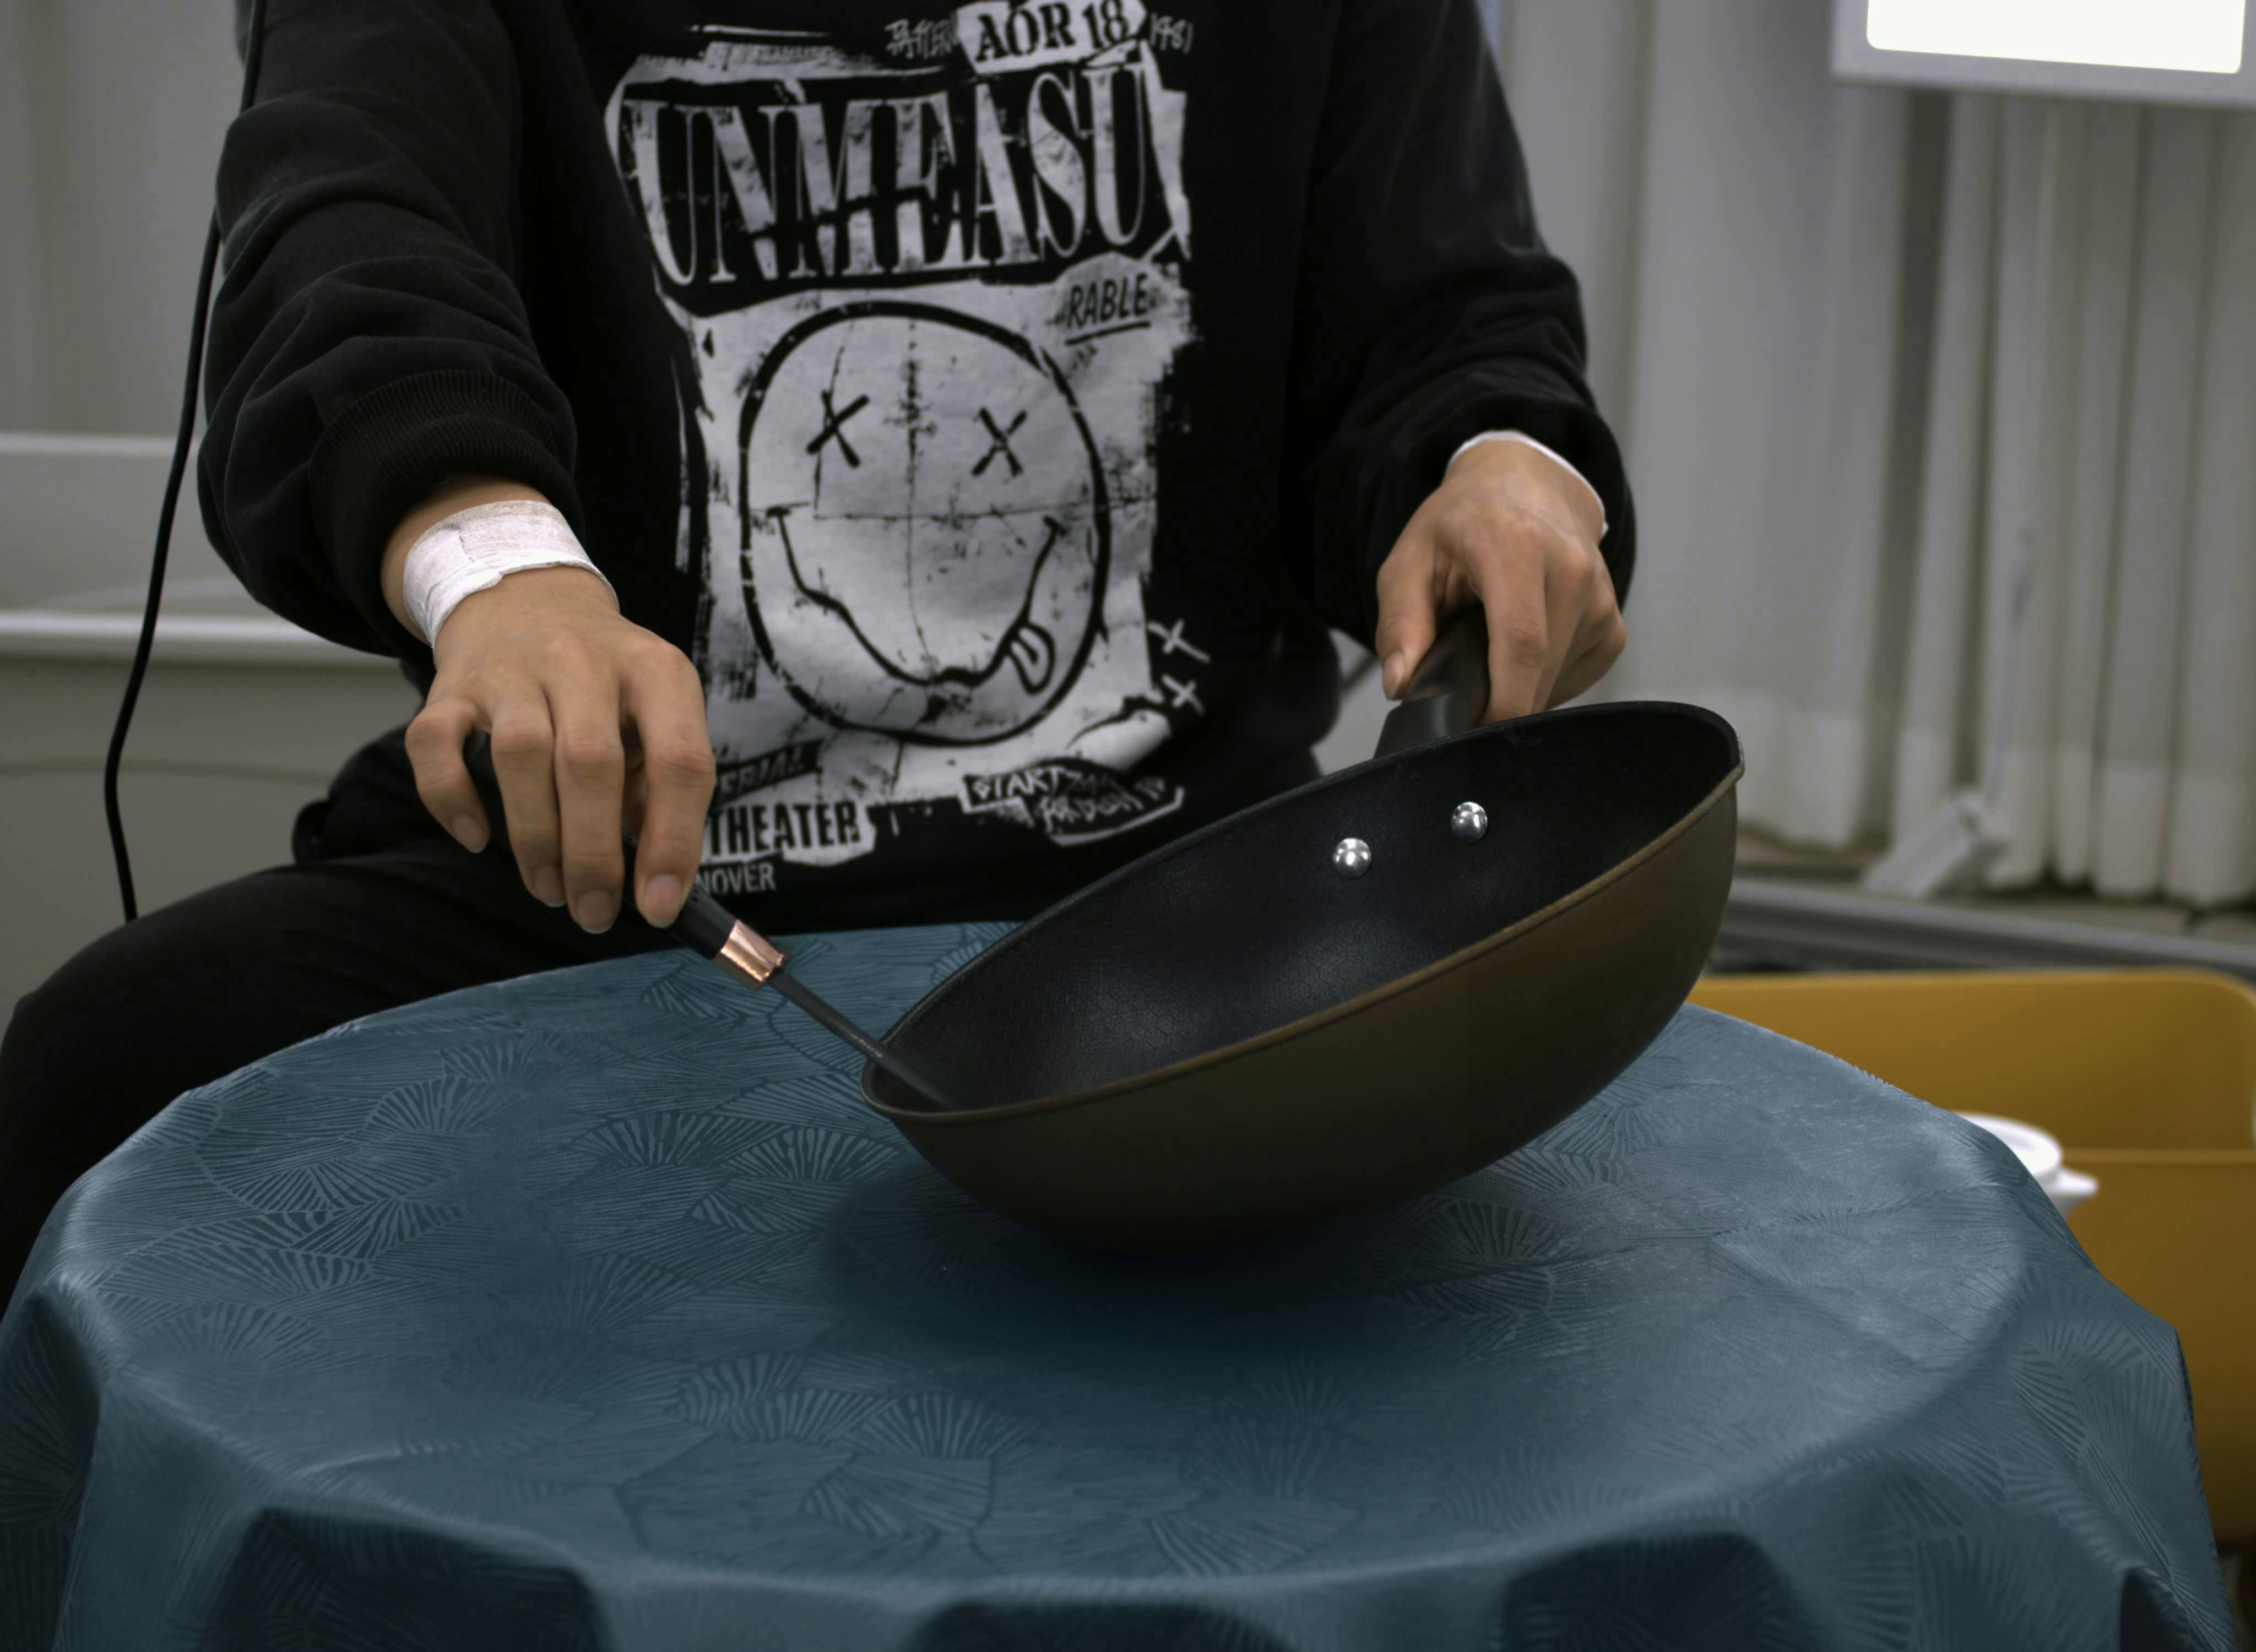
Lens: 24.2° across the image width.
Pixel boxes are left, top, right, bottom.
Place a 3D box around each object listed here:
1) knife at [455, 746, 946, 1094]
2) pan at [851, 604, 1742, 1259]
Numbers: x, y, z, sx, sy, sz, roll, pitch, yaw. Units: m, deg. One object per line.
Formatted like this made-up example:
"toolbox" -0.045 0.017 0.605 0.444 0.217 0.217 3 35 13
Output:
"knife" -0.100 0.045 1.515 0.225 0.017 0.026 35 0 2
"pan" 0.085 0.030 1.657 0.286 0.087 0.462 -18 12 20
